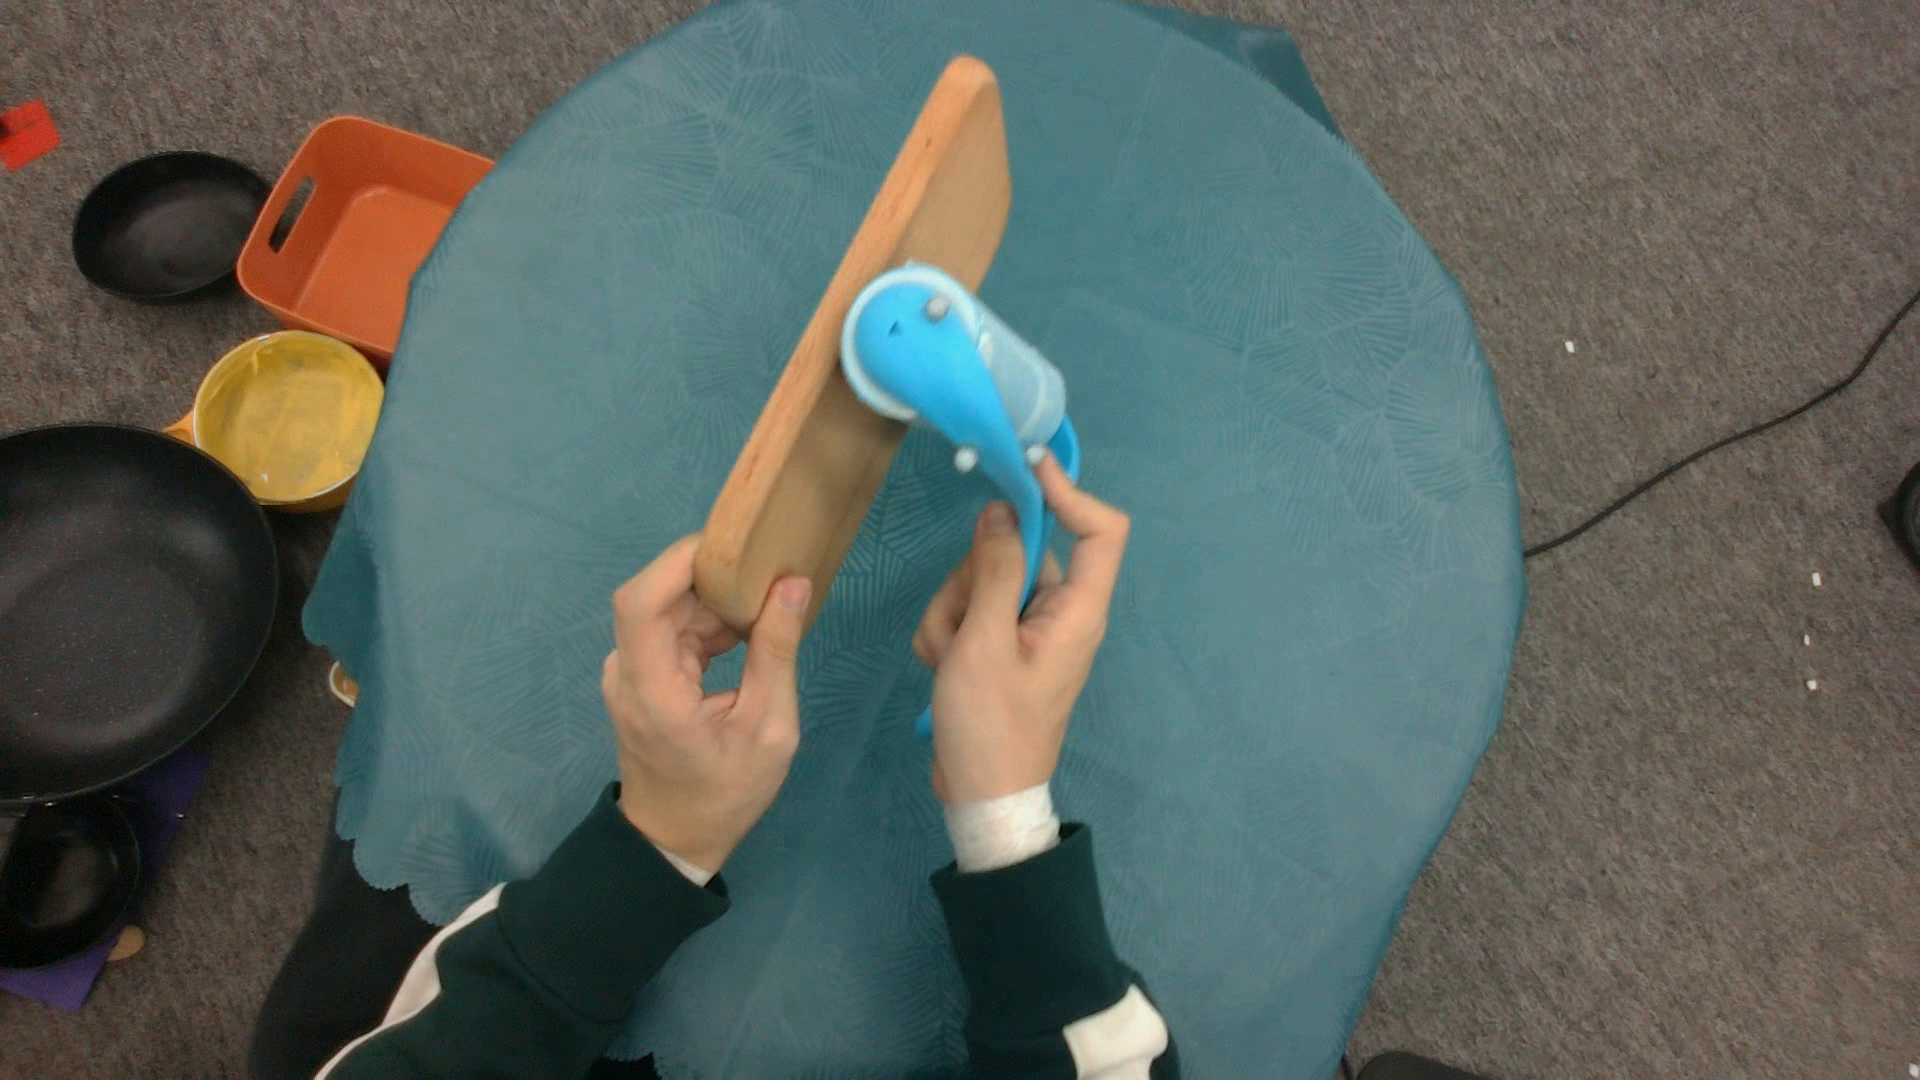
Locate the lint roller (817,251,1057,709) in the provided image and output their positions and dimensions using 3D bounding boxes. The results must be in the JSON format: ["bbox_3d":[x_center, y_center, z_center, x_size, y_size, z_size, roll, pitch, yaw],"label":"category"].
[{"bbox_3d":[0.000,-0.019,0.591,0.068,0.229,0.180,-4,91,11],"label":"lint roller"}]

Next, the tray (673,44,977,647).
[{"bbox_3d":[-0.047,-0.078,0.577,0.023,0.130,0.251,18,75,15],"label":"tray"}]
